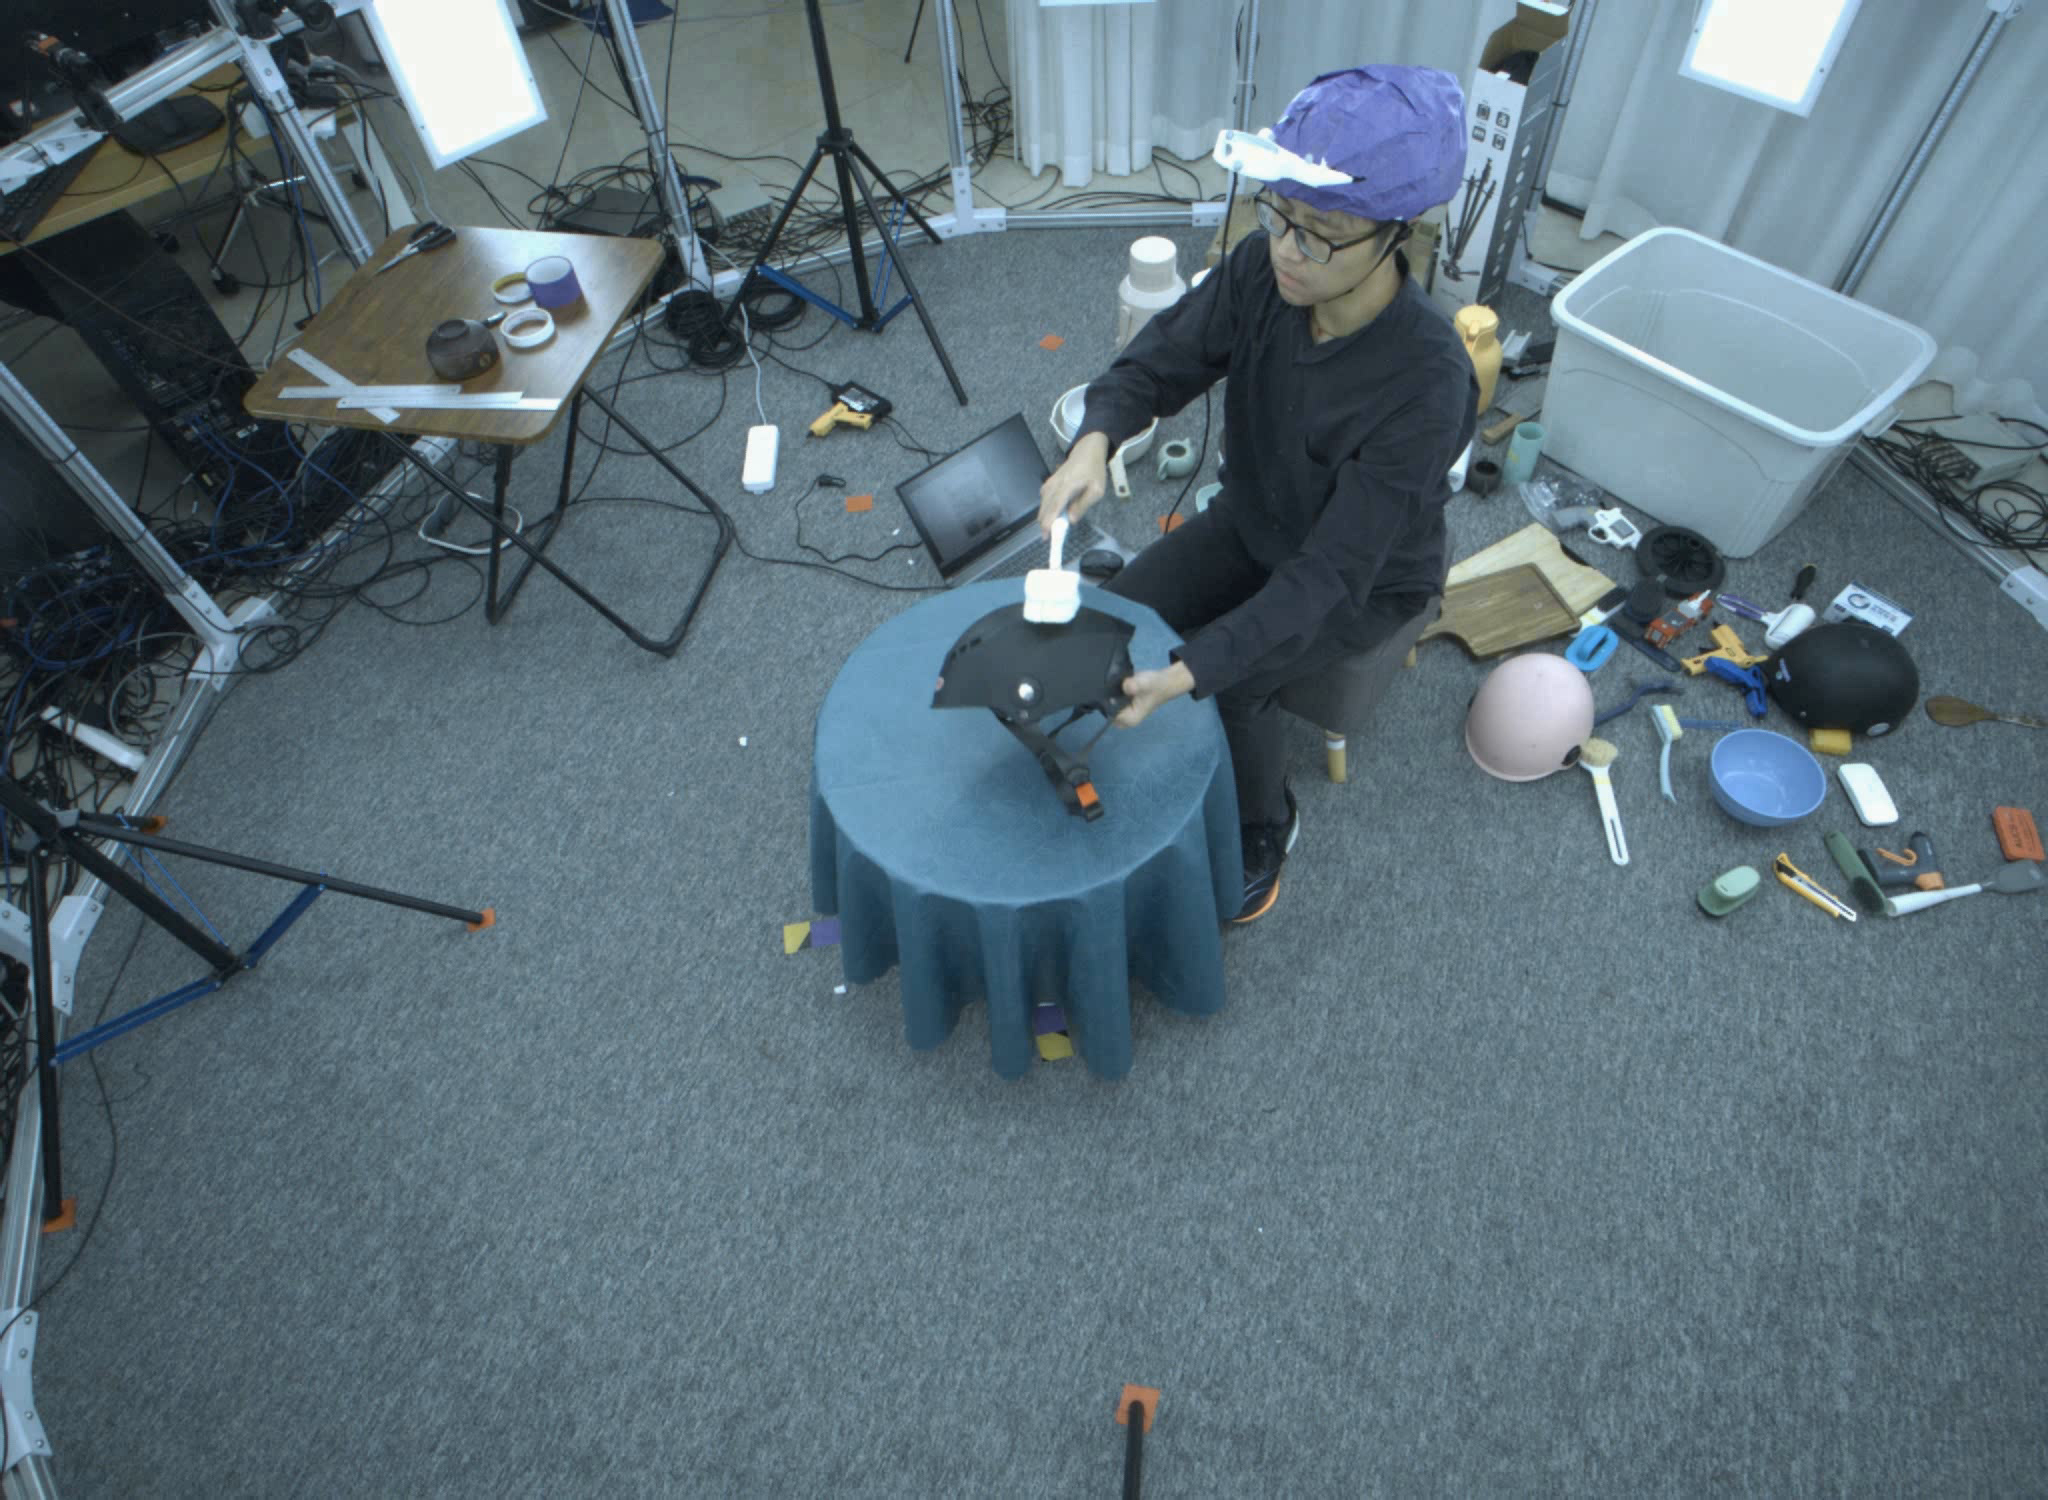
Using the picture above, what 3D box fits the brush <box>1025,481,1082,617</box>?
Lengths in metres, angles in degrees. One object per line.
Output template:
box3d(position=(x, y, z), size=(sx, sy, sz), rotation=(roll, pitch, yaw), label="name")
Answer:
box3d(position=(0.051, -0.256, 1.648), size=(0.084, 0.084, 0.323), rotation=(35, 34, -17), label="brush")

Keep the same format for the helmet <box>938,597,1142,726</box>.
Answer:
box3d(position=(0.019, -0.119, 1.637), size=(0.278, 0.244, 0.173), rotation=(-4, 95, -9), label="helmet")
